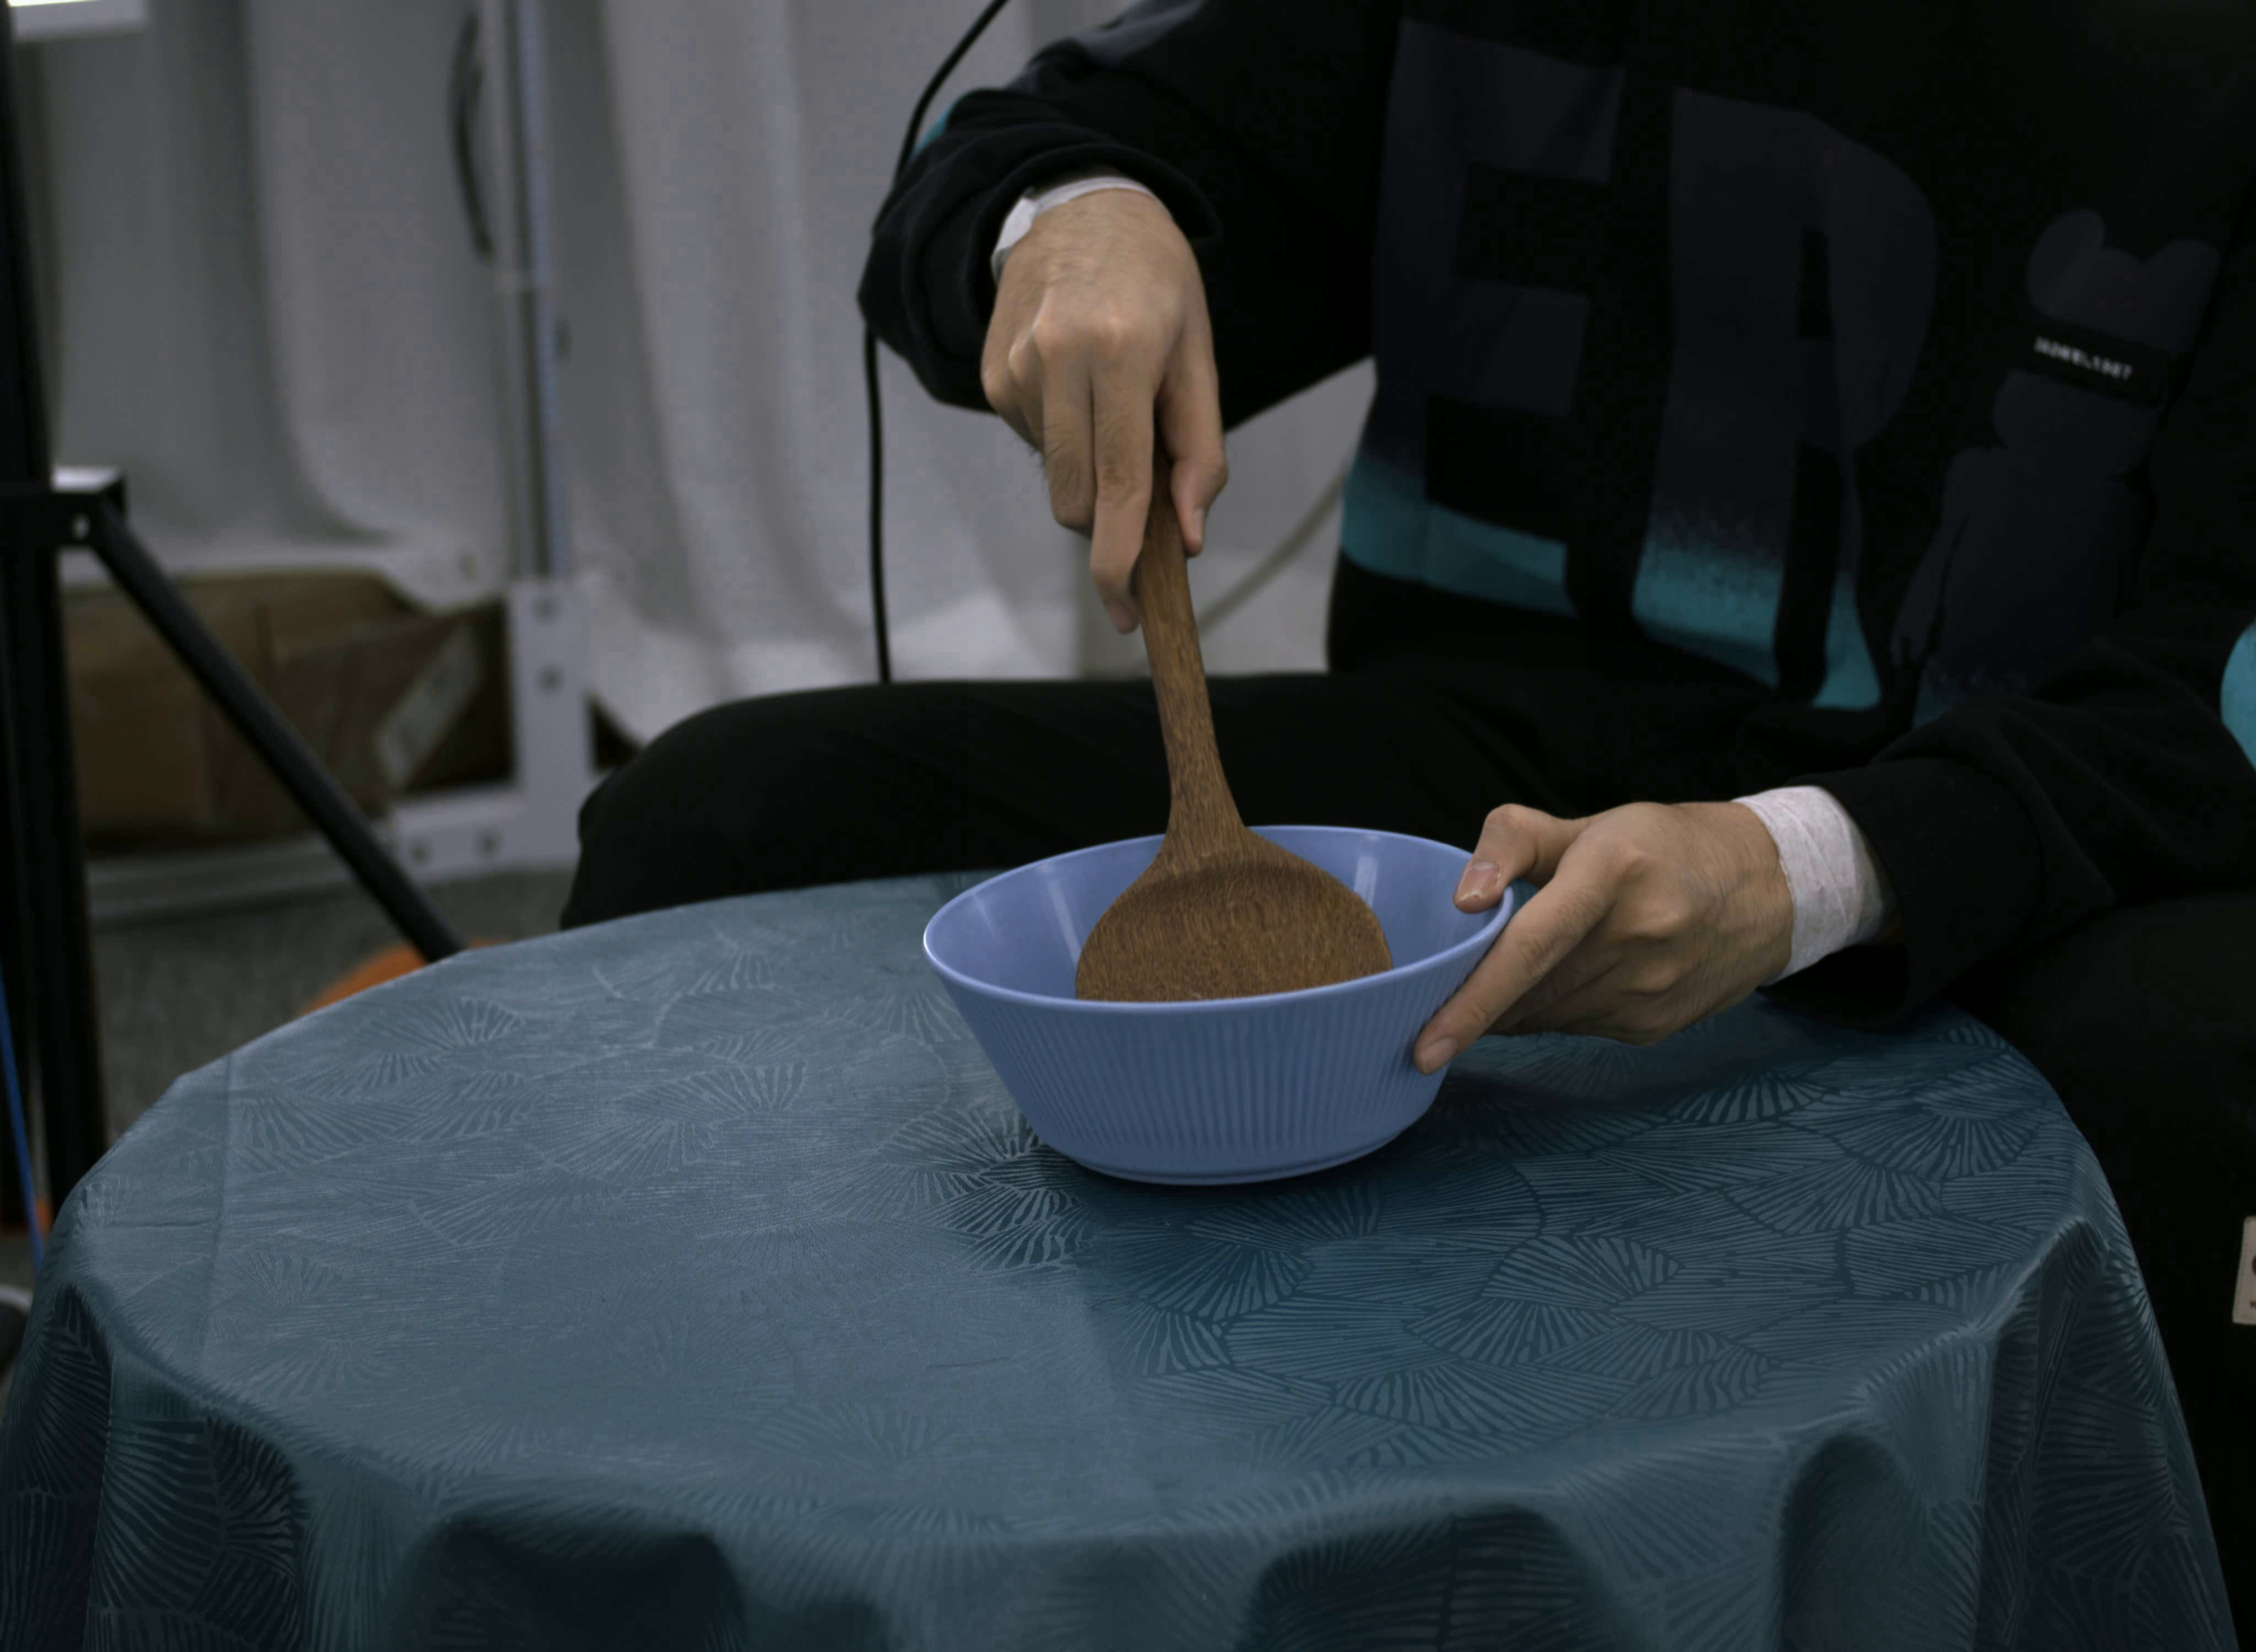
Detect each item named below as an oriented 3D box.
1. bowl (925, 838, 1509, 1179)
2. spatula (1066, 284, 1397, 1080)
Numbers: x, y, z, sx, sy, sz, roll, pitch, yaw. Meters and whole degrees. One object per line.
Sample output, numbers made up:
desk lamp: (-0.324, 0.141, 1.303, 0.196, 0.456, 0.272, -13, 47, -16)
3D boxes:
bowl: (0.028, 0.057, 1.589, 0.175, 0.070, 0.177, -4, 15, 0)
spatula: (0.014, -0.057, 1.666, 0.096, 0.015, 0.391, -12, 42, 2)
